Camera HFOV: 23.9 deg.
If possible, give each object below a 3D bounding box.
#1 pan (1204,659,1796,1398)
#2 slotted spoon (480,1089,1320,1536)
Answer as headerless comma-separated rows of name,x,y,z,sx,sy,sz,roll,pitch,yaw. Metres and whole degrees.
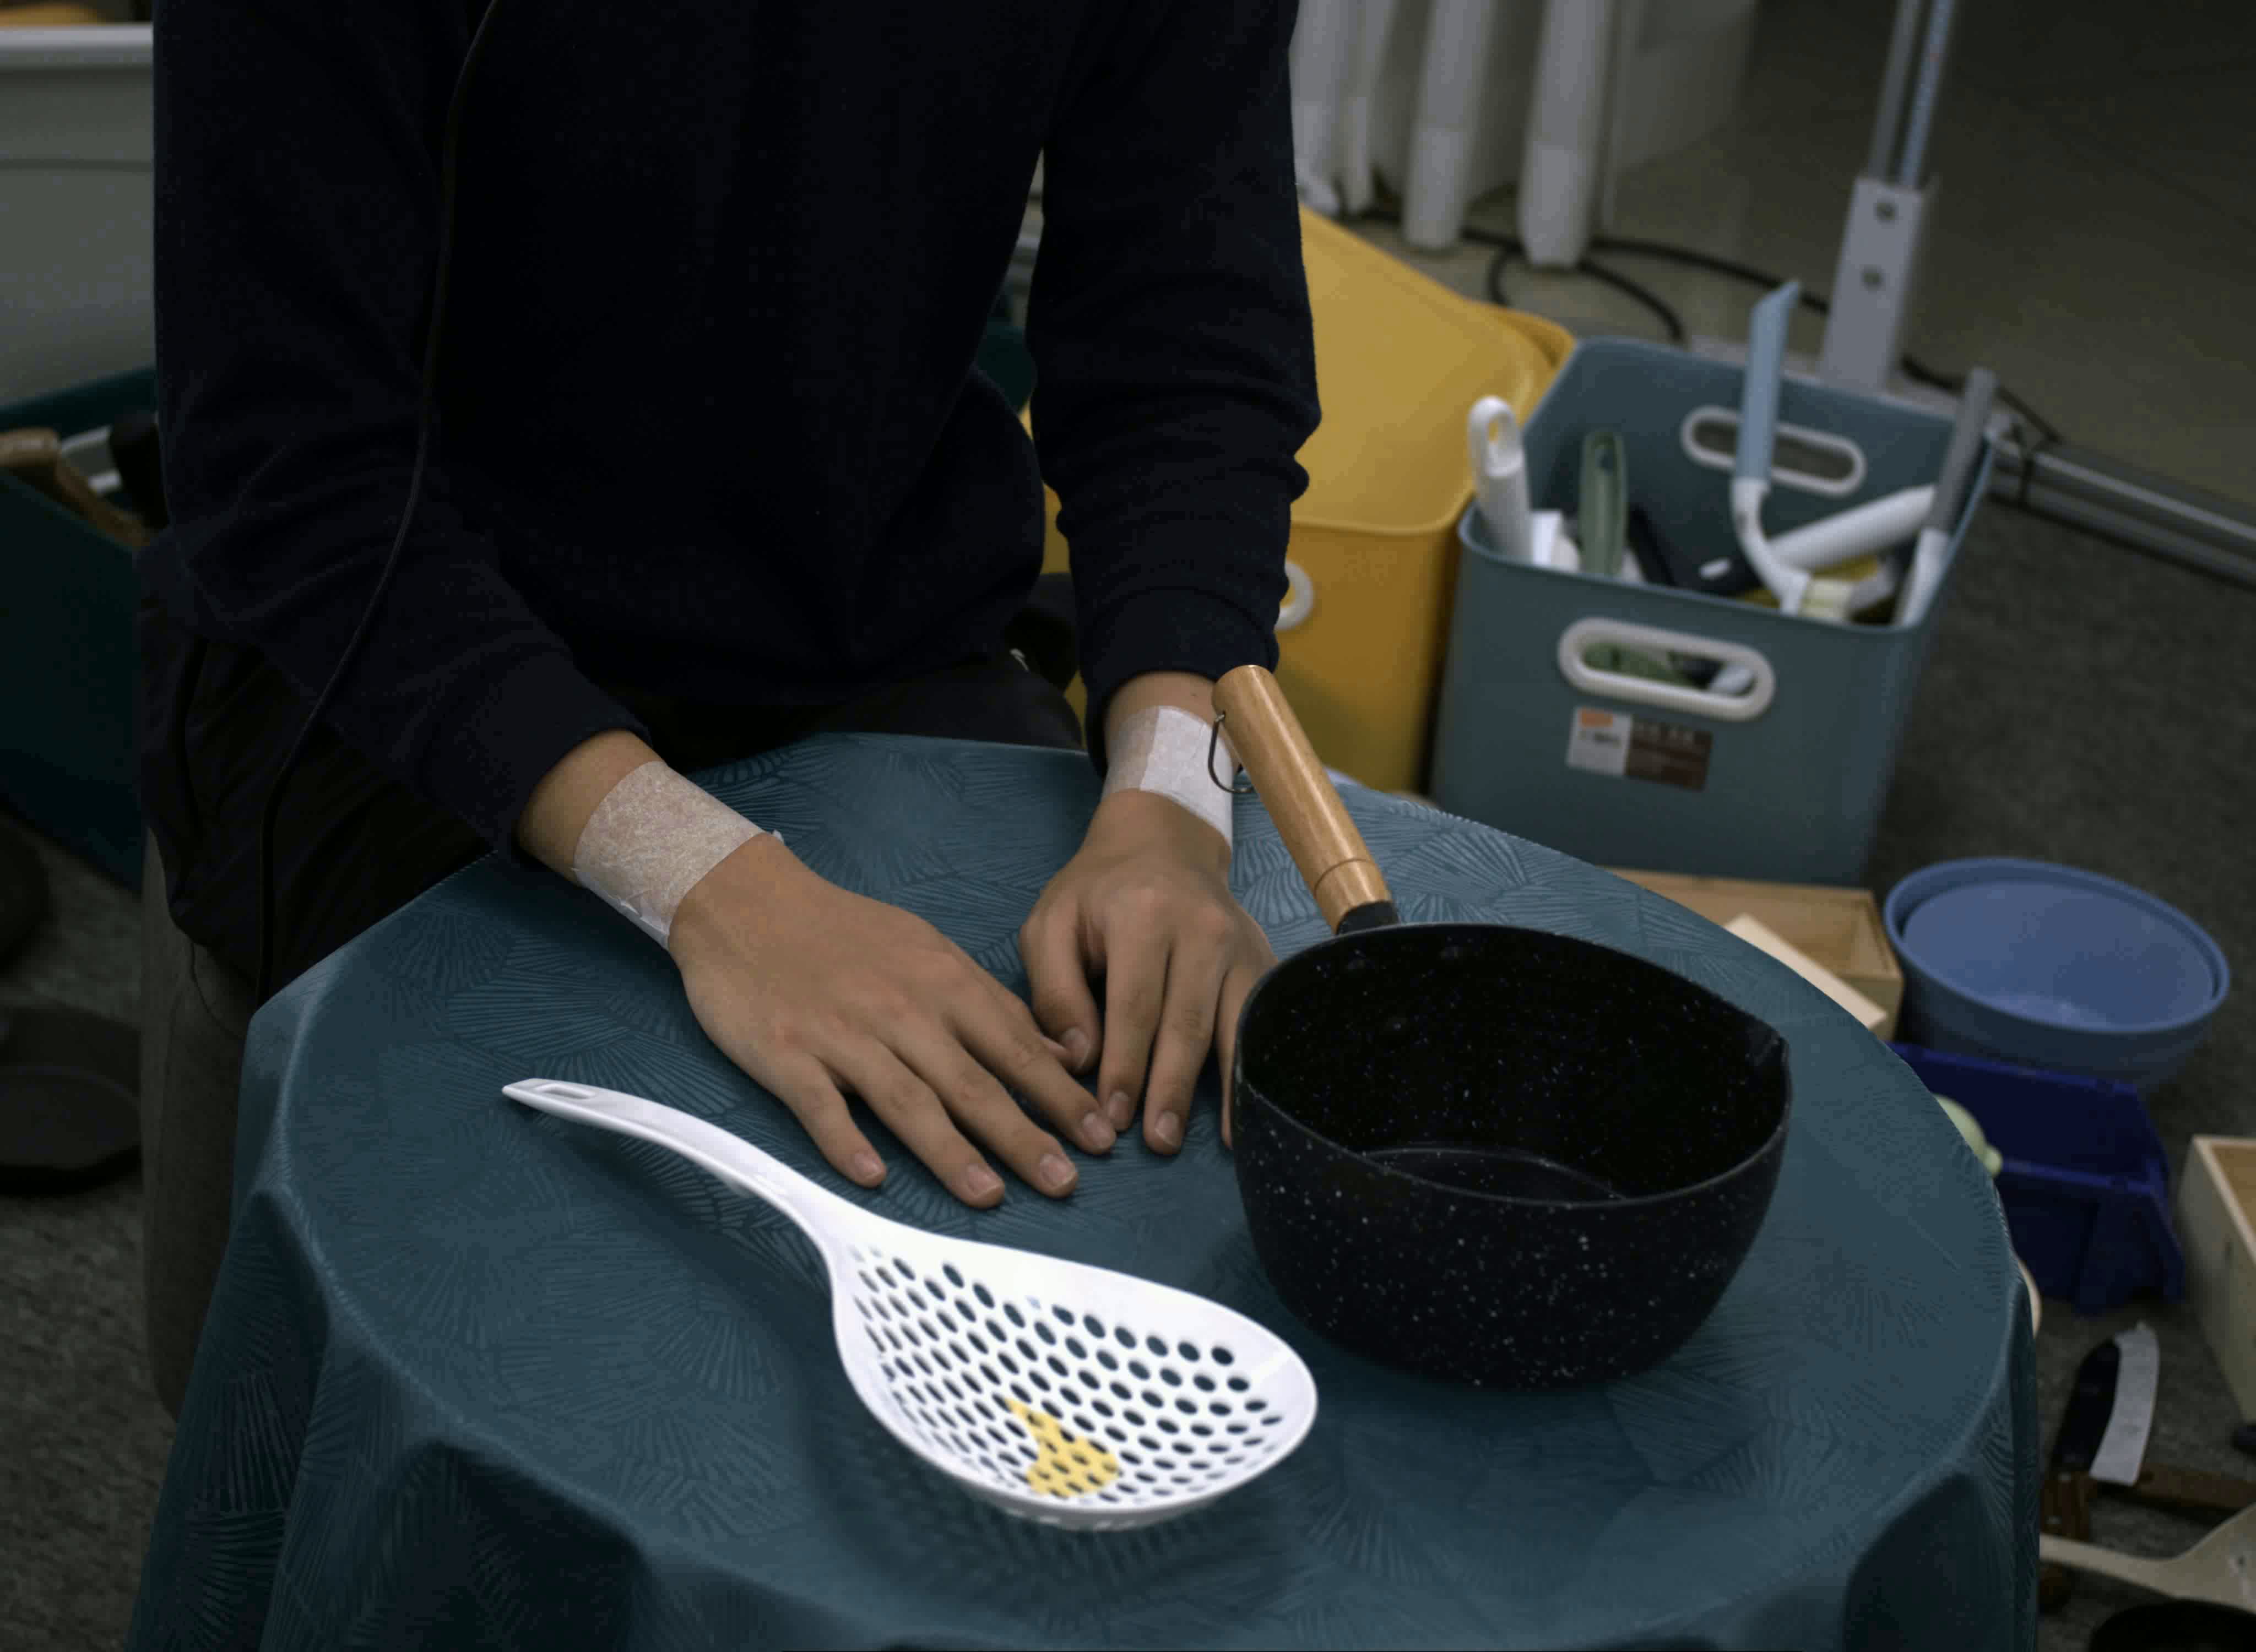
pan,0.094,0.066,1.819,0.206,0.108,0.346,-6,31,-21
slotted spoon,-0.088,0.142,1.700,0.136,0.050,0.350,-21,39,-40
